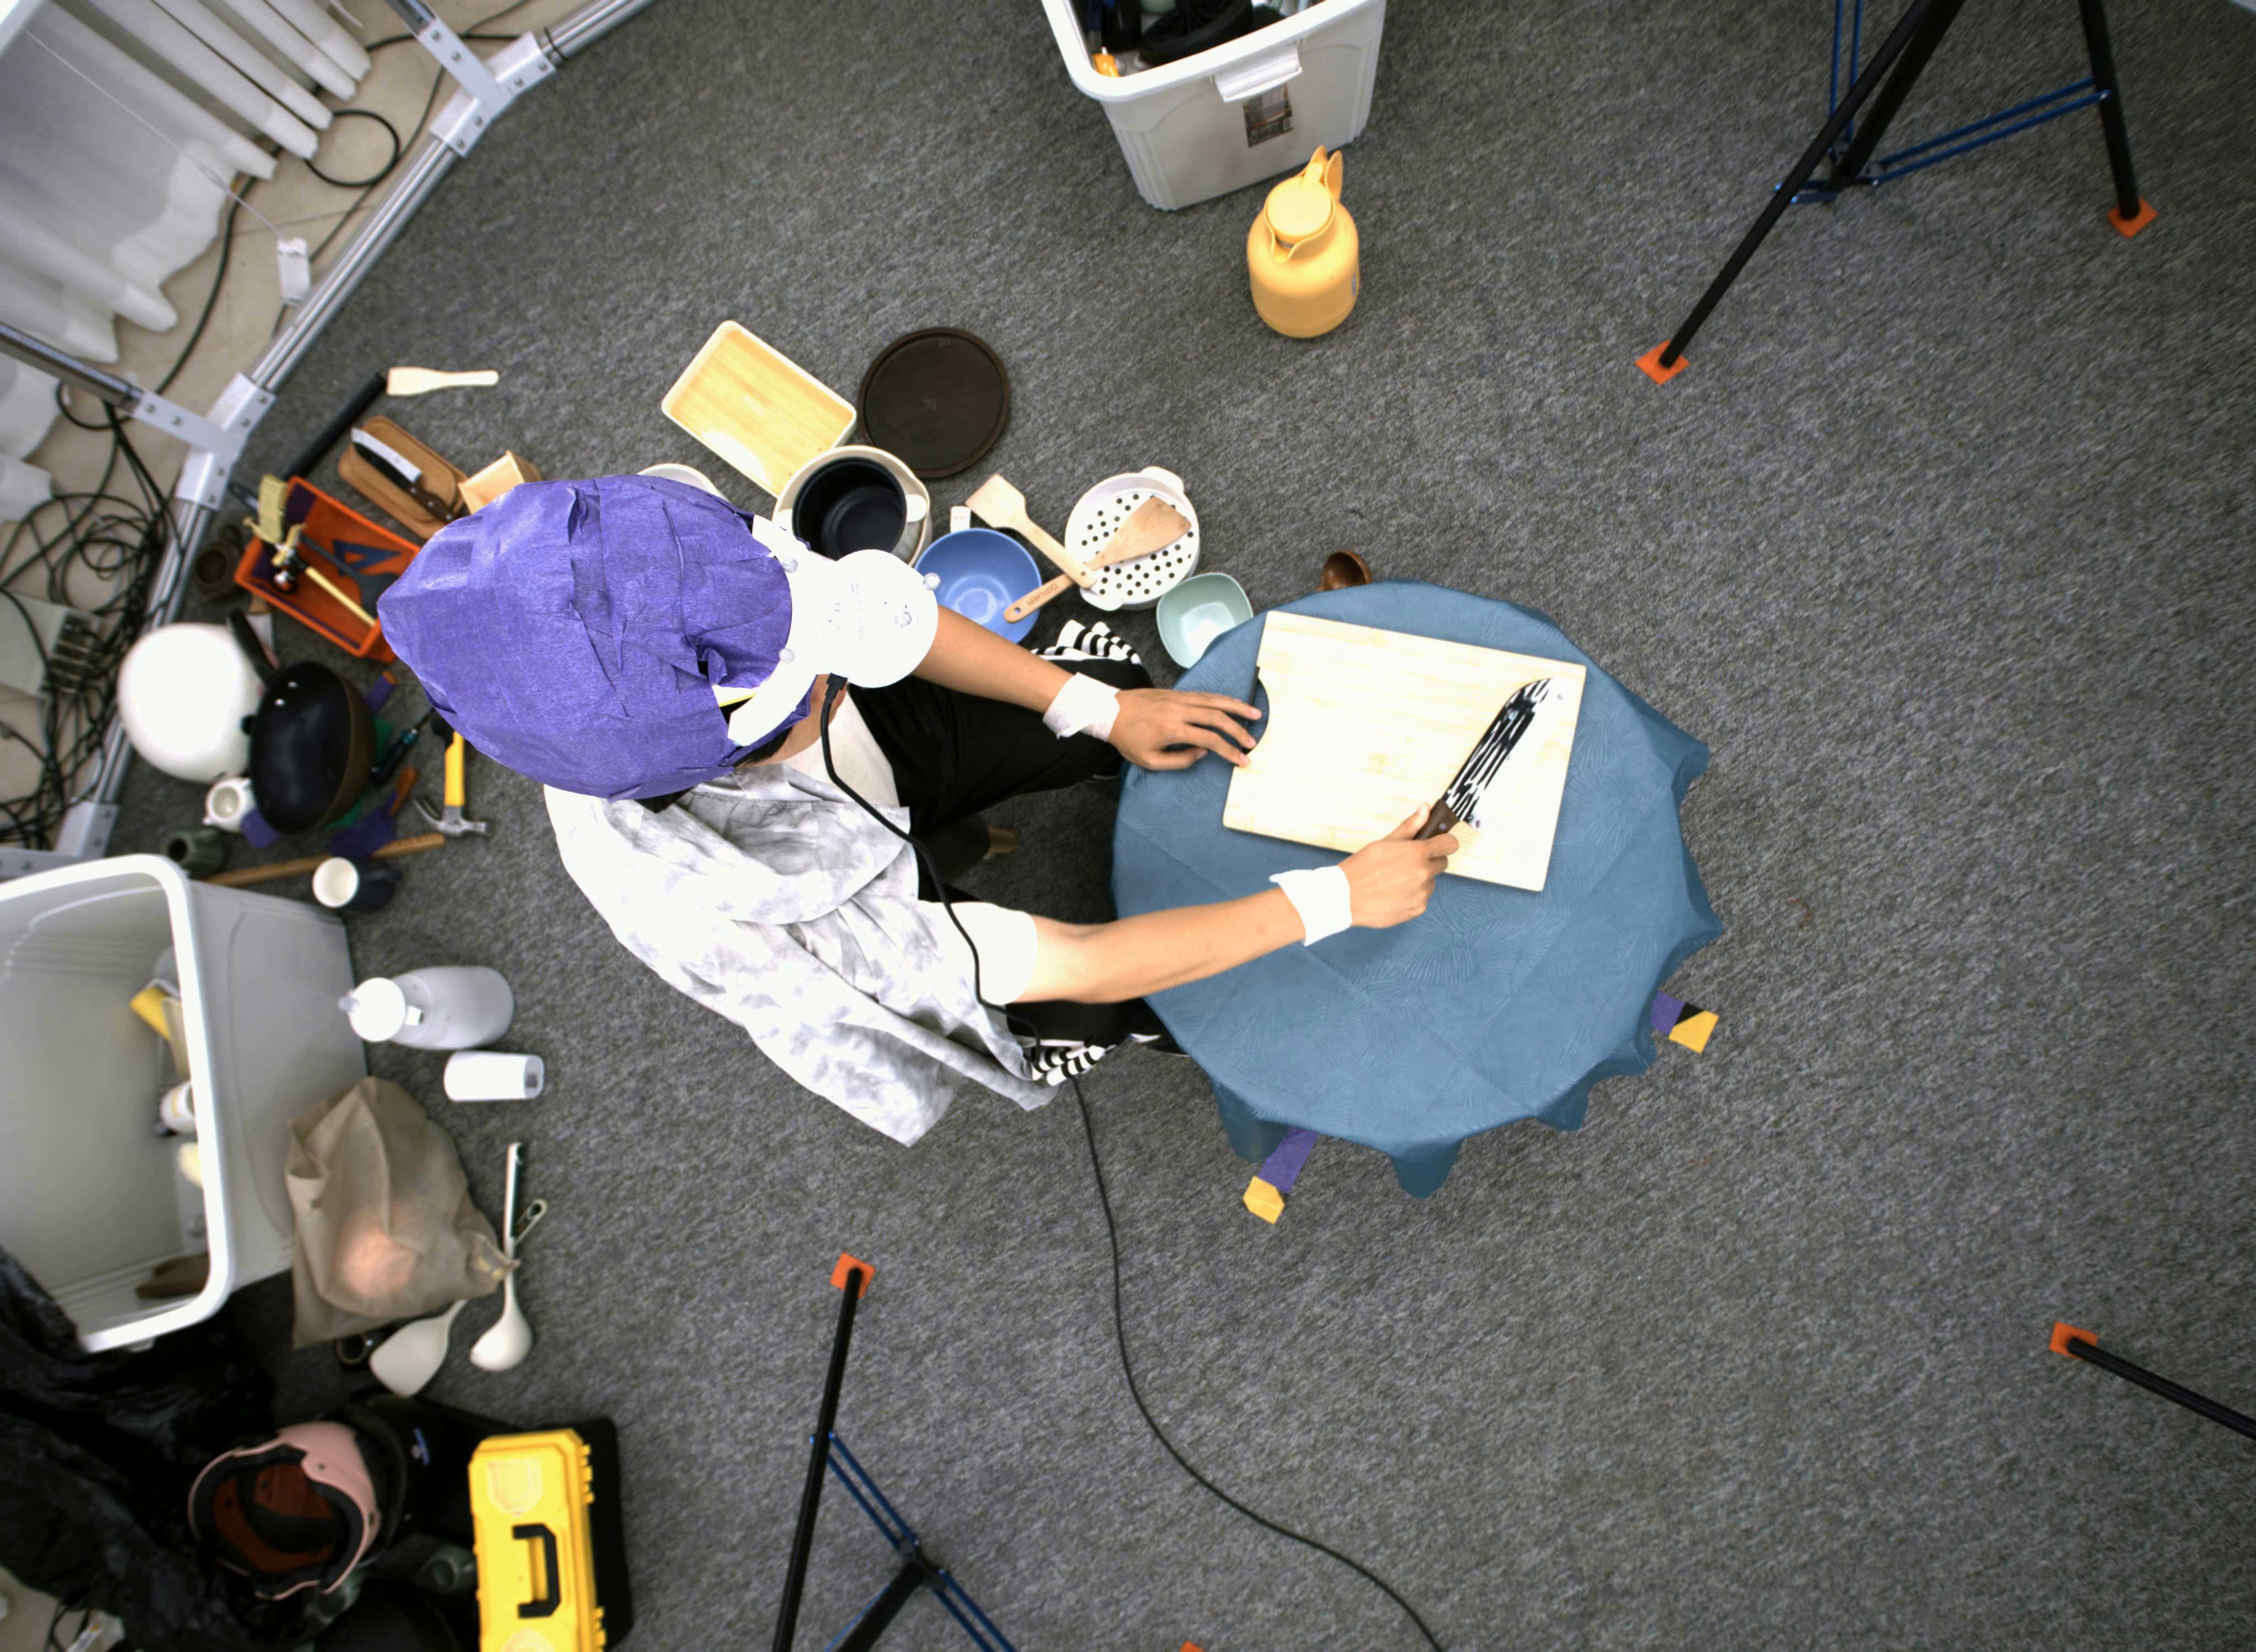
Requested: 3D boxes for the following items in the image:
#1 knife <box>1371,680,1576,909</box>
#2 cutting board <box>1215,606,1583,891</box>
[{"bbox_3d":[0.345,-0.032,1.359,0.068,0.024,0.300,34,93,-27],"label":"knife"},{"bbox_3d":[0.284,-0.086,1.456,0.349,0.023,0.250,11,88,11],"label":"cutting board"}]
